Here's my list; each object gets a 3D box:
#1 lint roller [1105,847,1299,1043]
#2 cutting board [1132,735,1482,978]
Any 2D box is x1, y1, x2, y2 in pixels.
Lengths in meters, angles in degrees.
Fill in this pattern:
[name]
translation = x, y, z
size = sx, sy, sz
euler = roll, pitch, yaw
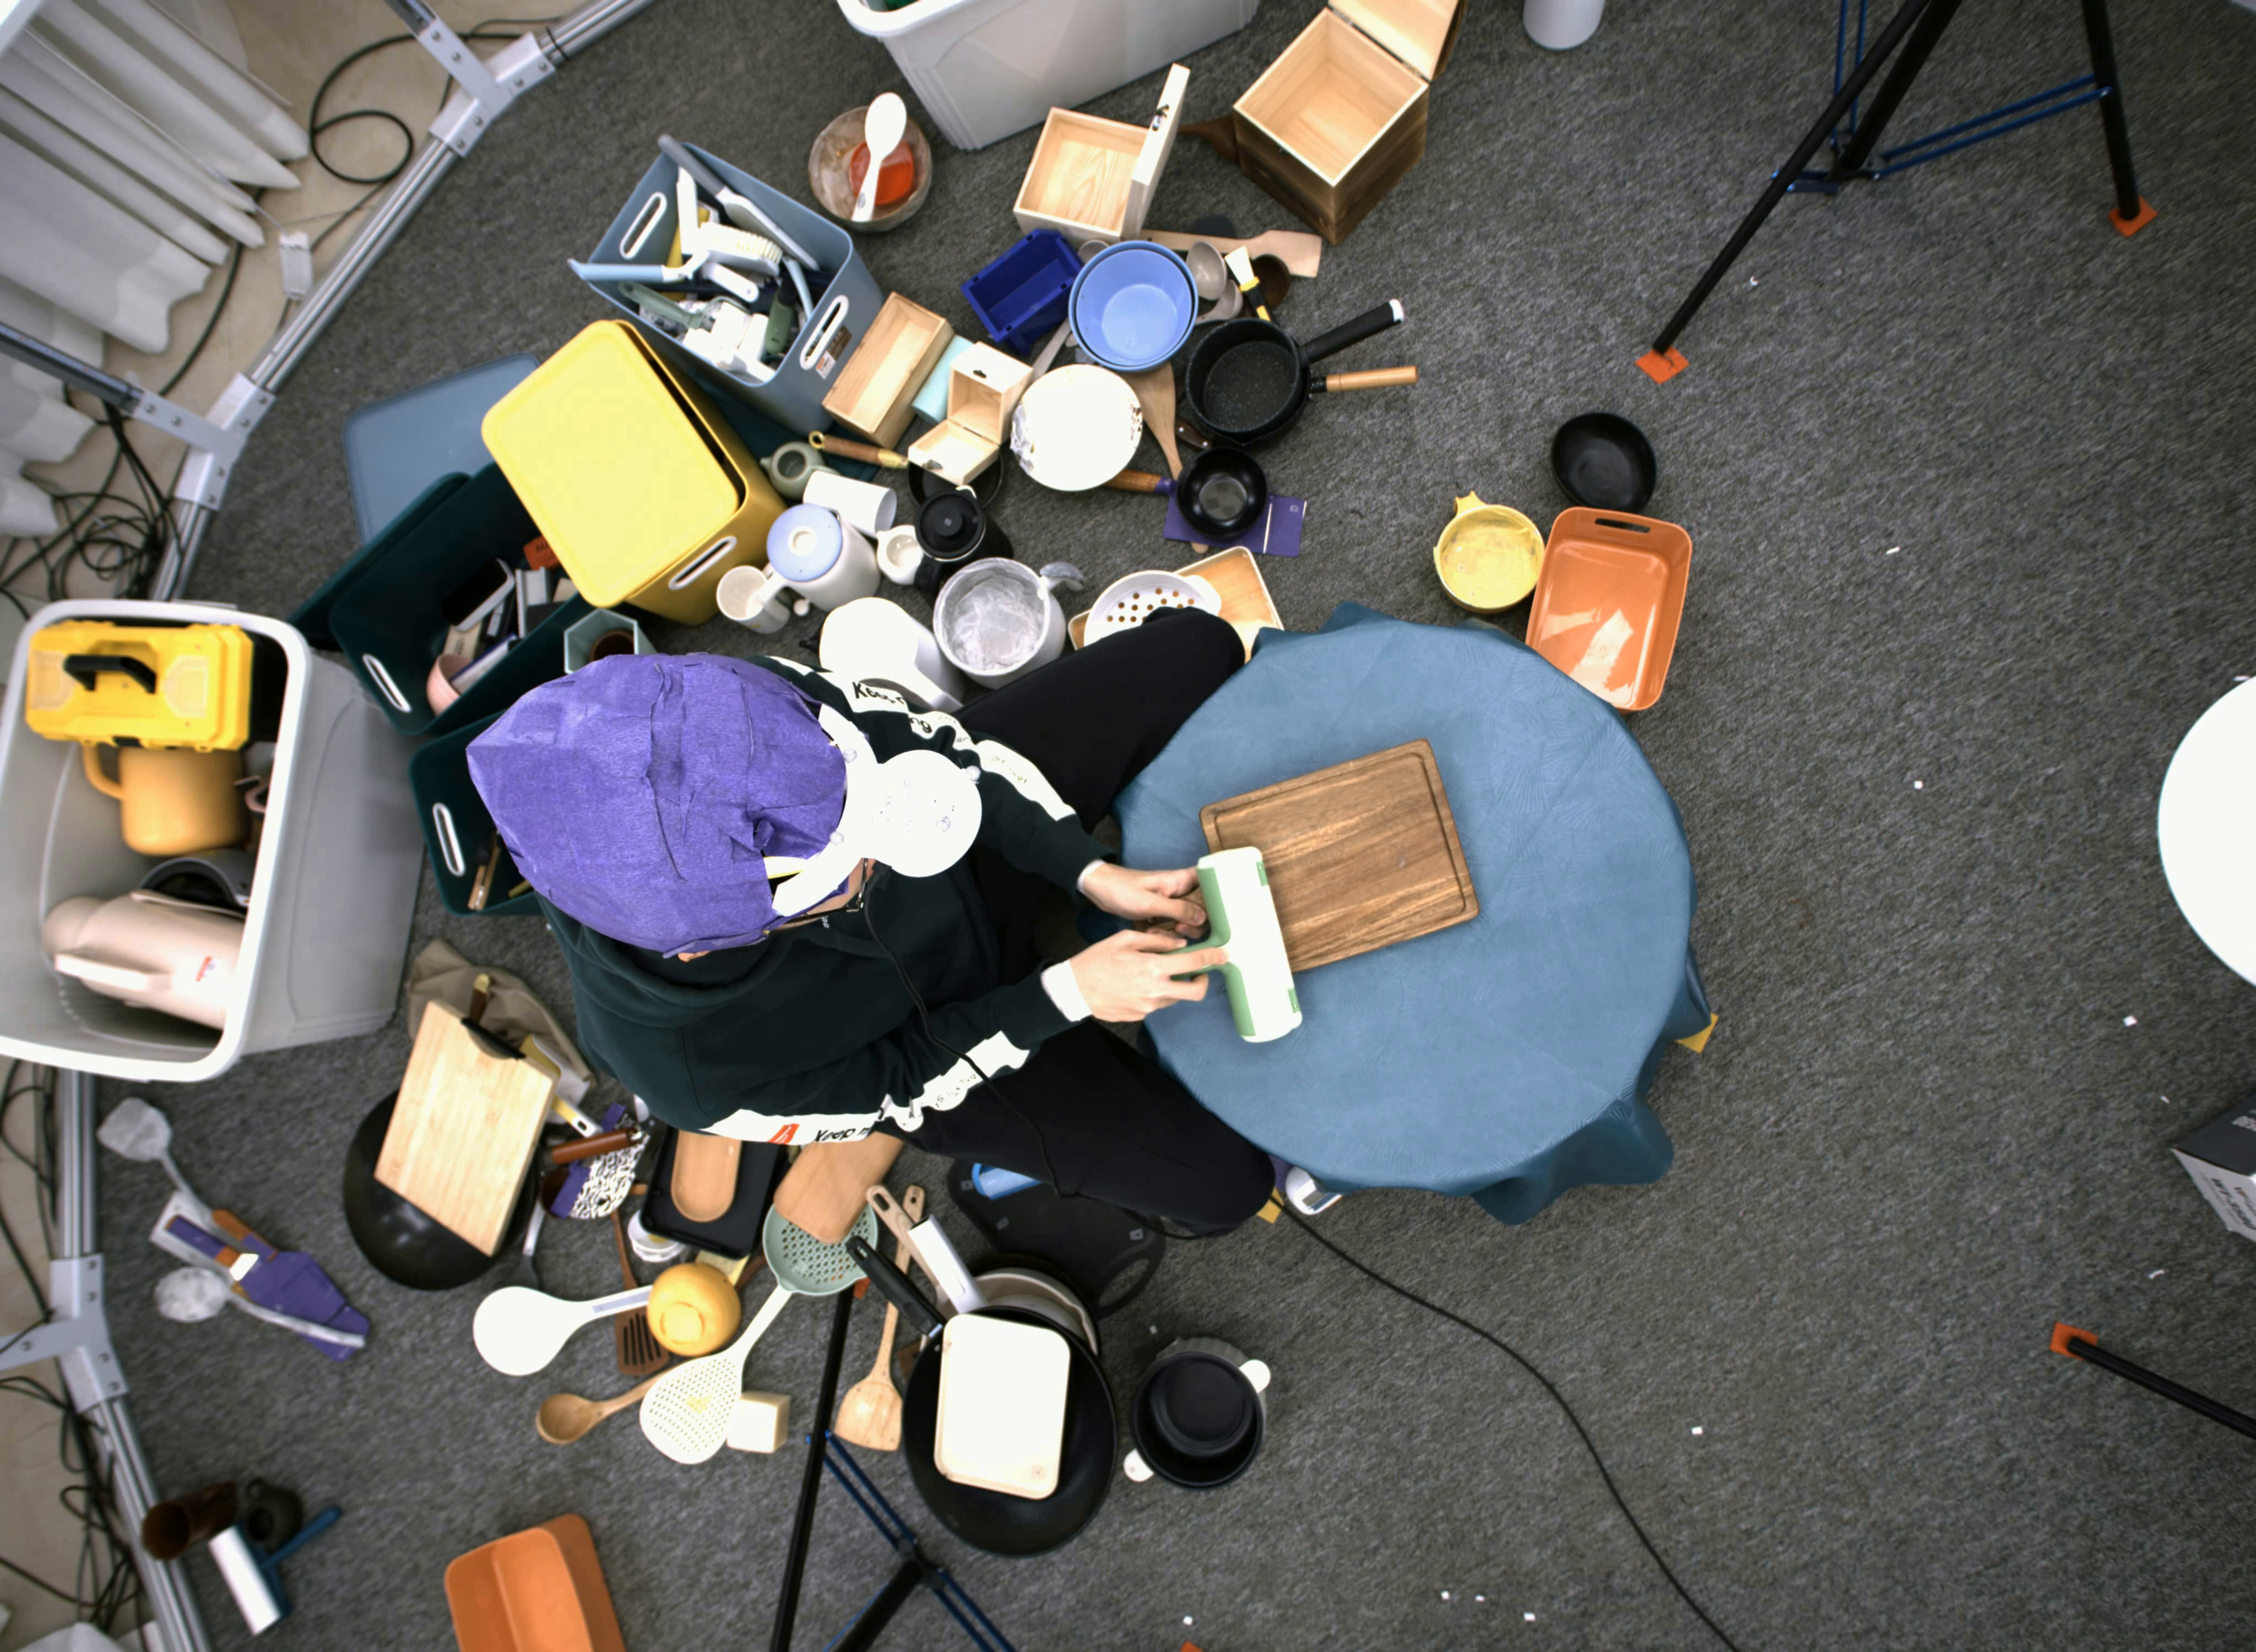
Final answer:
[lint roller]
translation = 0.071, 0.136, 1.390
size = 0.182, 0.082, 0.199
euler = -17, 98, -20
[cutting board]
translation = 0.172, 0.050, 1.440
size = 0.354, 0.023, 0.201
euler = -18, 95, 7
